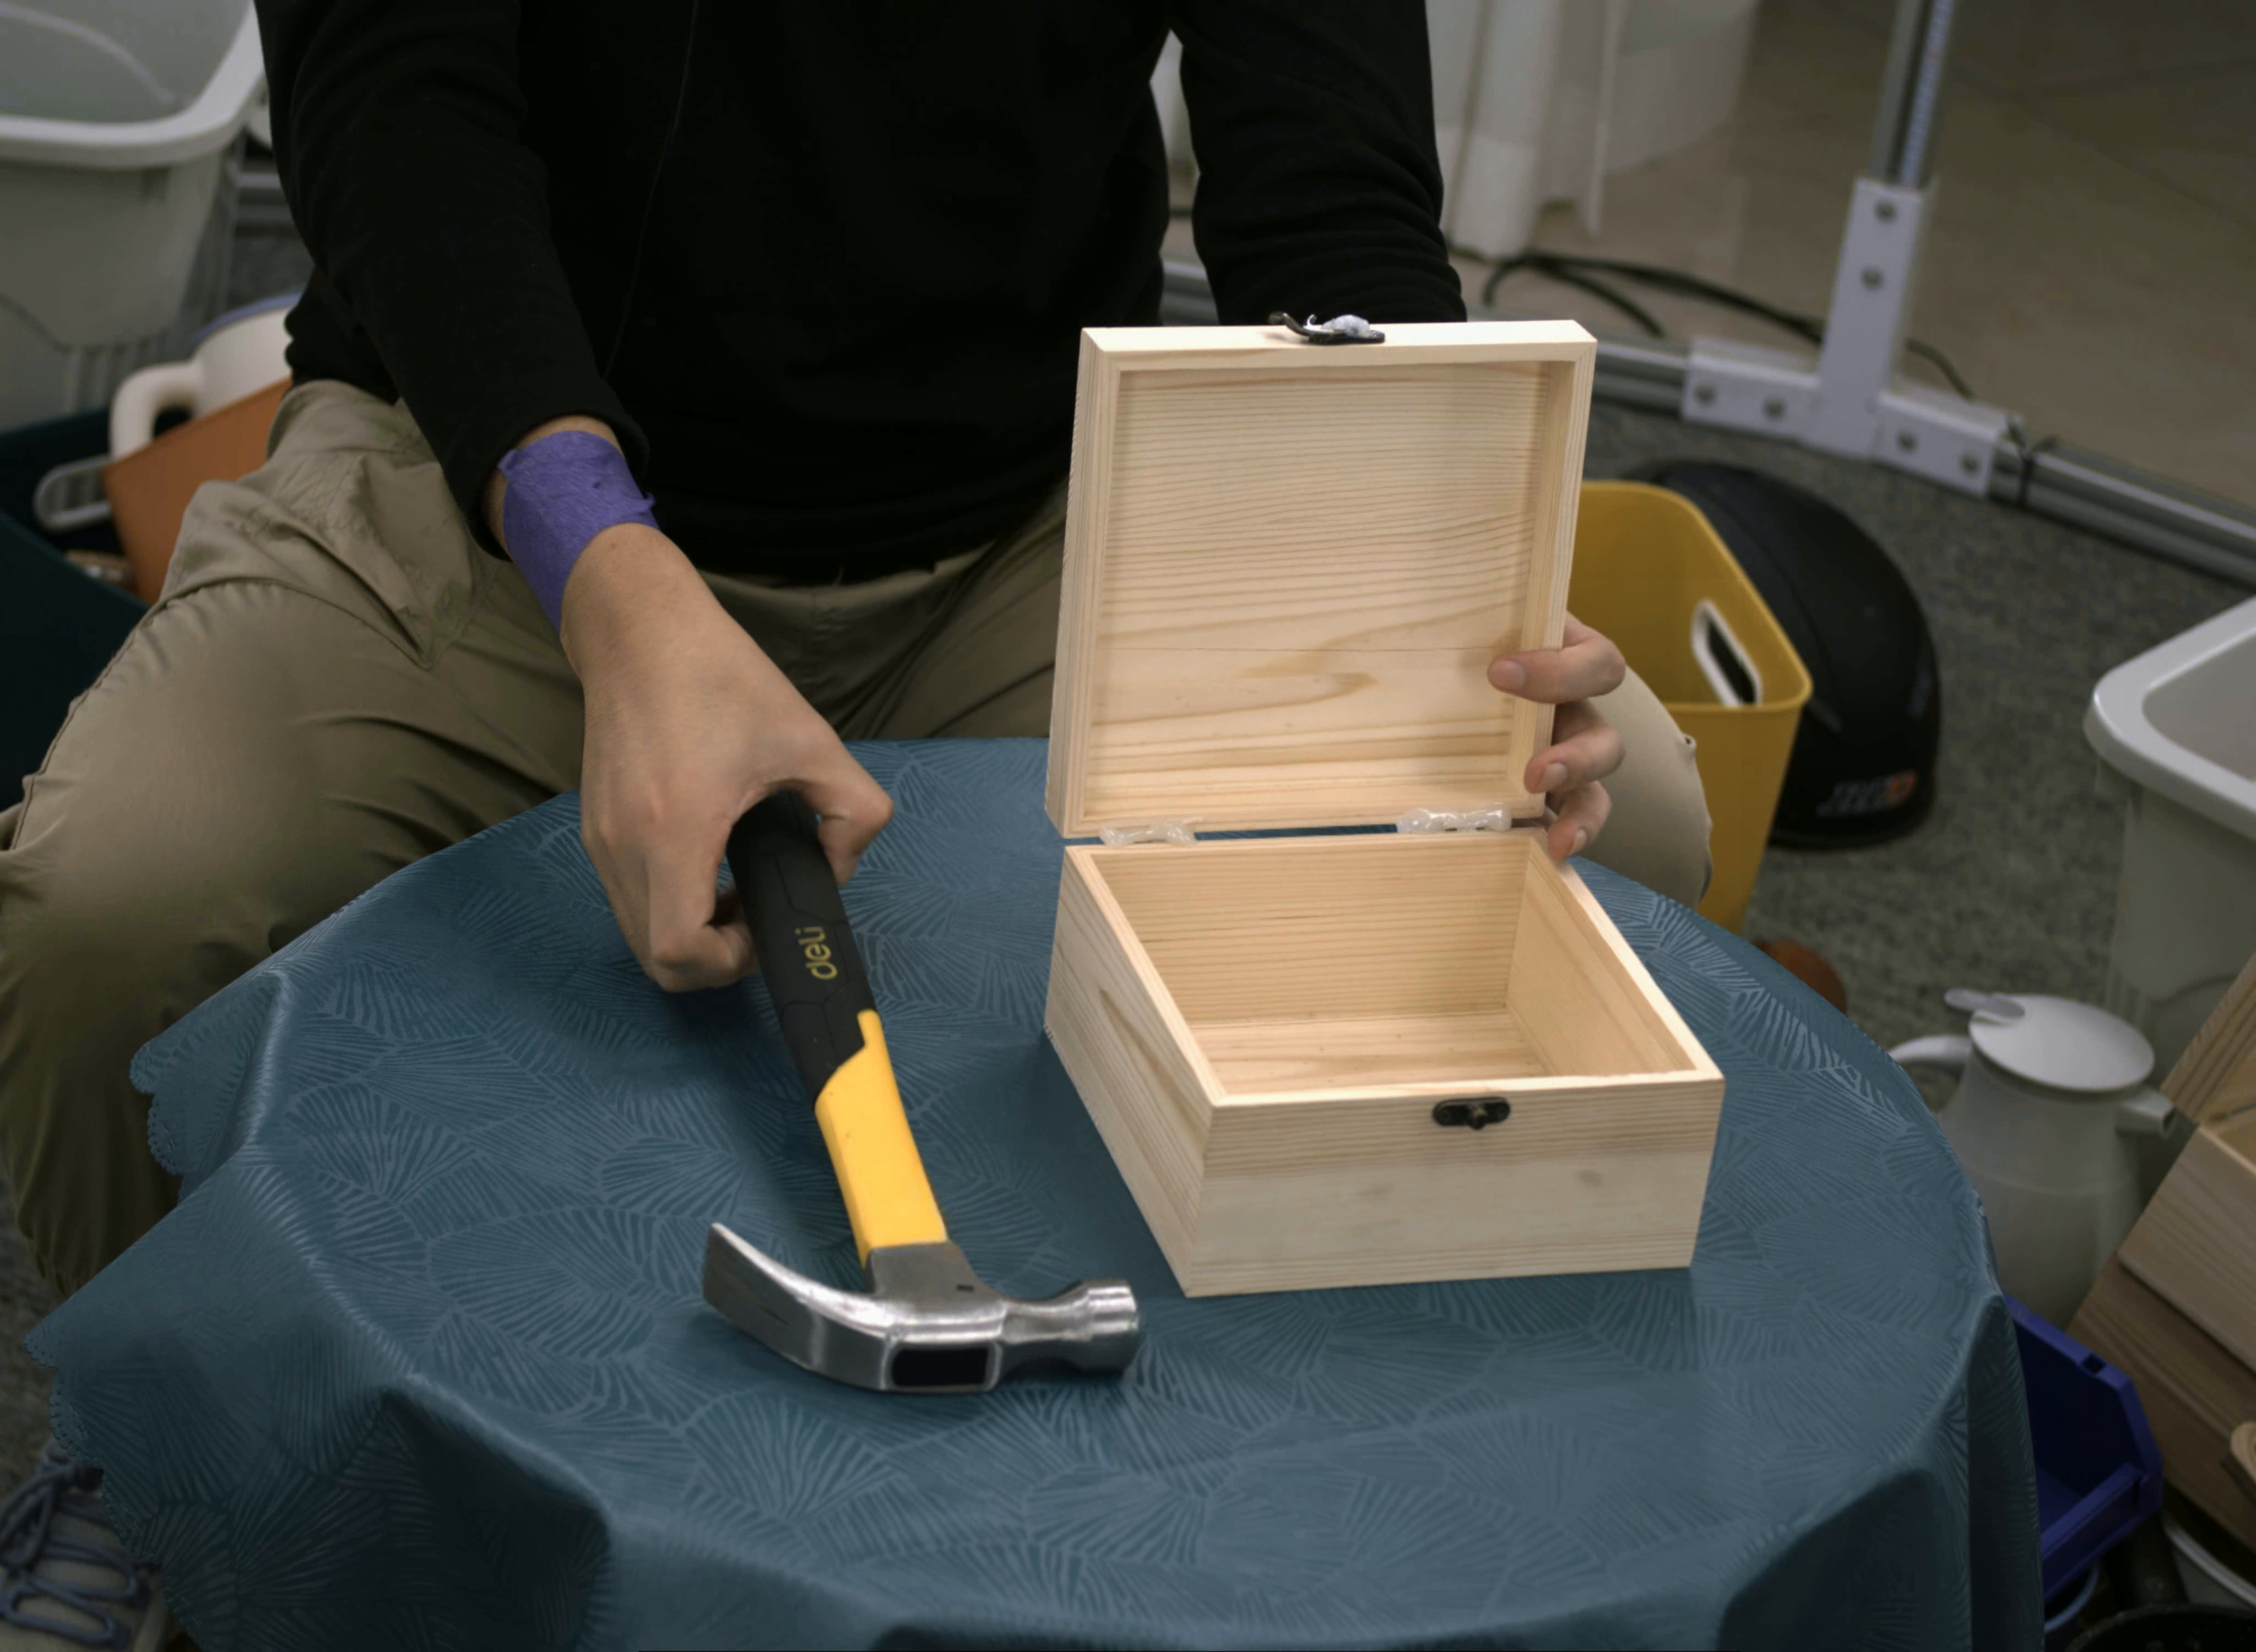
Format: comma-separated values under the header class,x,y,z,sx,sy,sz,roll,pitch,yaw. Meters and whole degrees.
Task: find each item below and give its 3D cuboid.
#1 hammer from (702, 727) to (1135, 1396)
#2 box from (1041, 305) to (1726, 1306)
class,x,y,z,sx,sy,sz,roll,pitch,yaw
hammer,-0.098,0.071,1.805,0.130,0.032,0.341,-2,36,-15
box,0.083,-0.014,1.822,0.181,0.252,0.267,-4,29,-16
